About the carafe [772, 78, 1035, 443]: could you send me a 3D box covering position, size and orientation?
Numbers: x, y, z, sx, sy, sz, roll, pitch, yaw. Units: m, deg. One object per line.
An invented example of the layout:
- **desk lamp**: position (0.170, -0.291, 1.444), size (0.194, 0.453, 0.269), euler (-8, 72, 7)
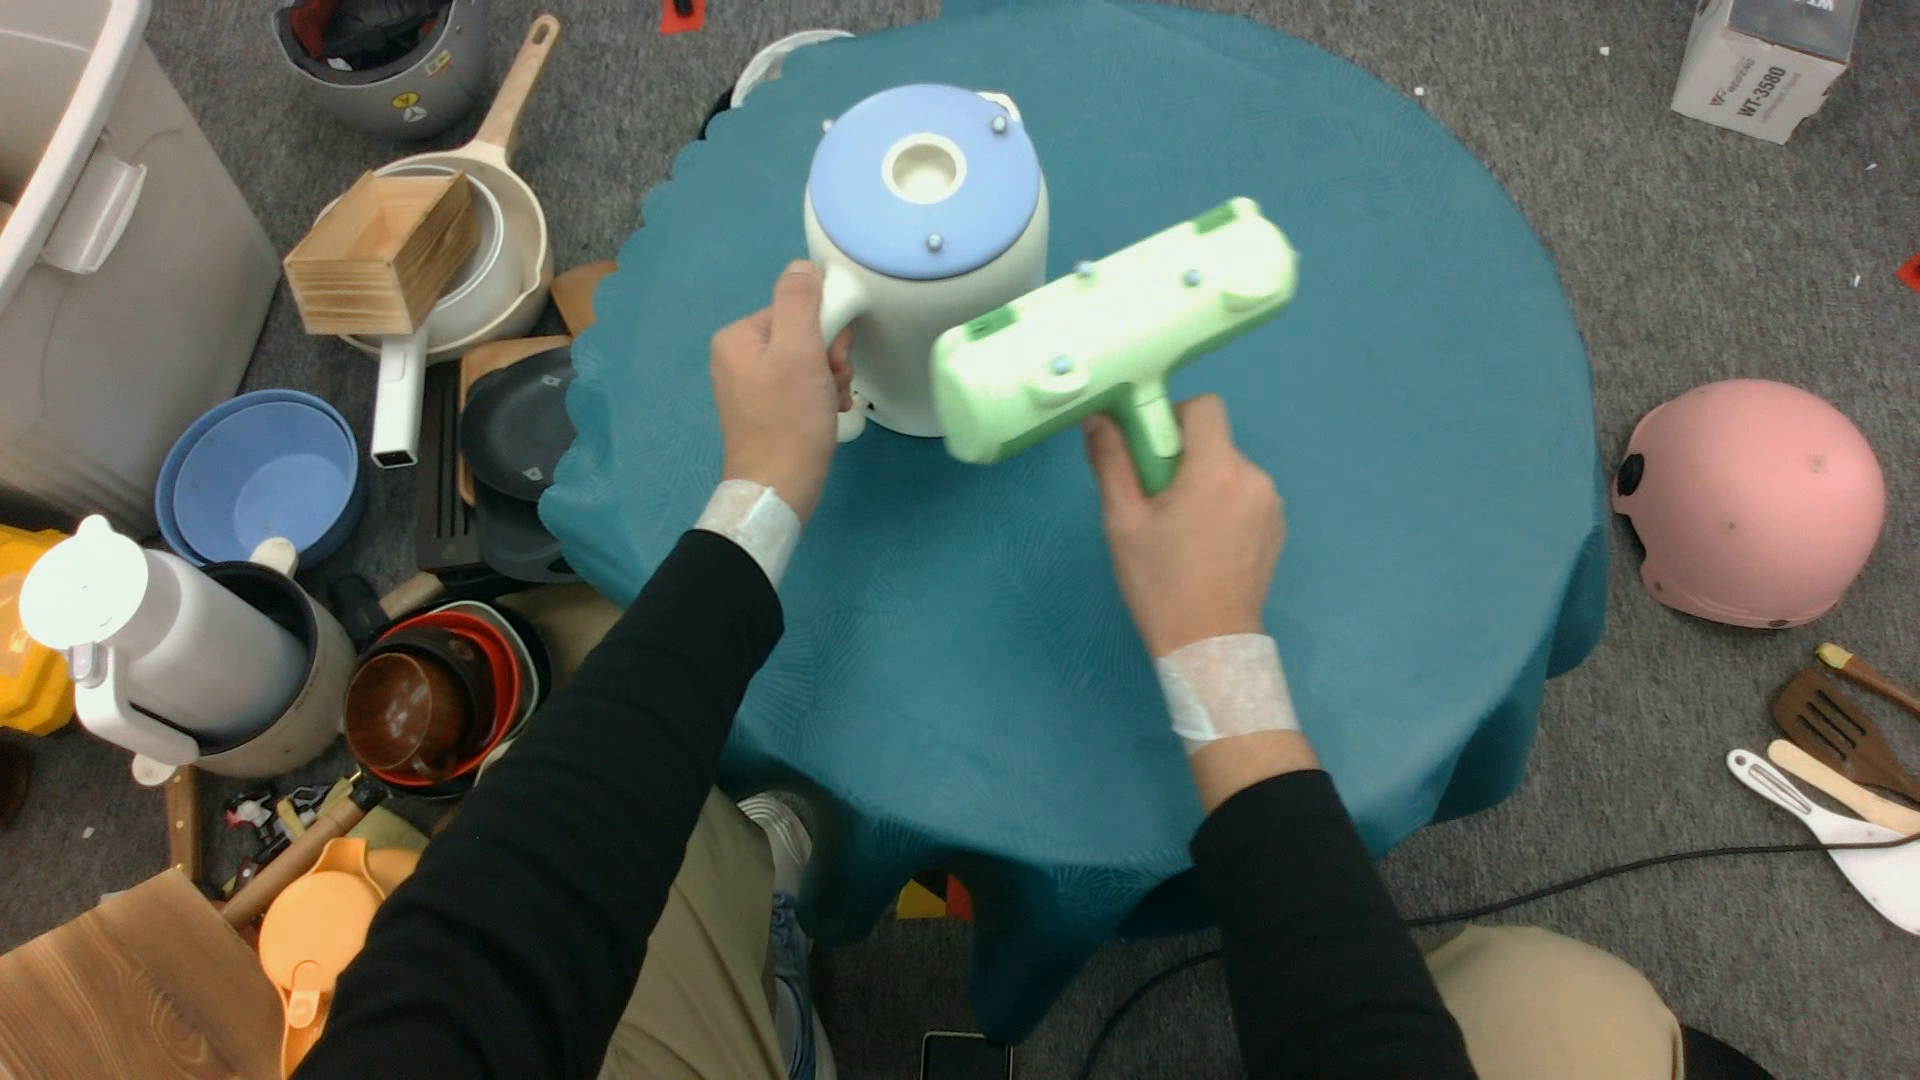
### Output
- **carafe**: position (-0.040, -0.138, 0.771), size (0.132, 0.182, 0.191), euler (35, 73, 14)

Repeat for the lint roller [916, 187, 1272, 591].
- **lint roller**: position (0.096, -0.057, 0.677), size (0.199, 0.082, 0.183), euler (-30, 99, -23)
